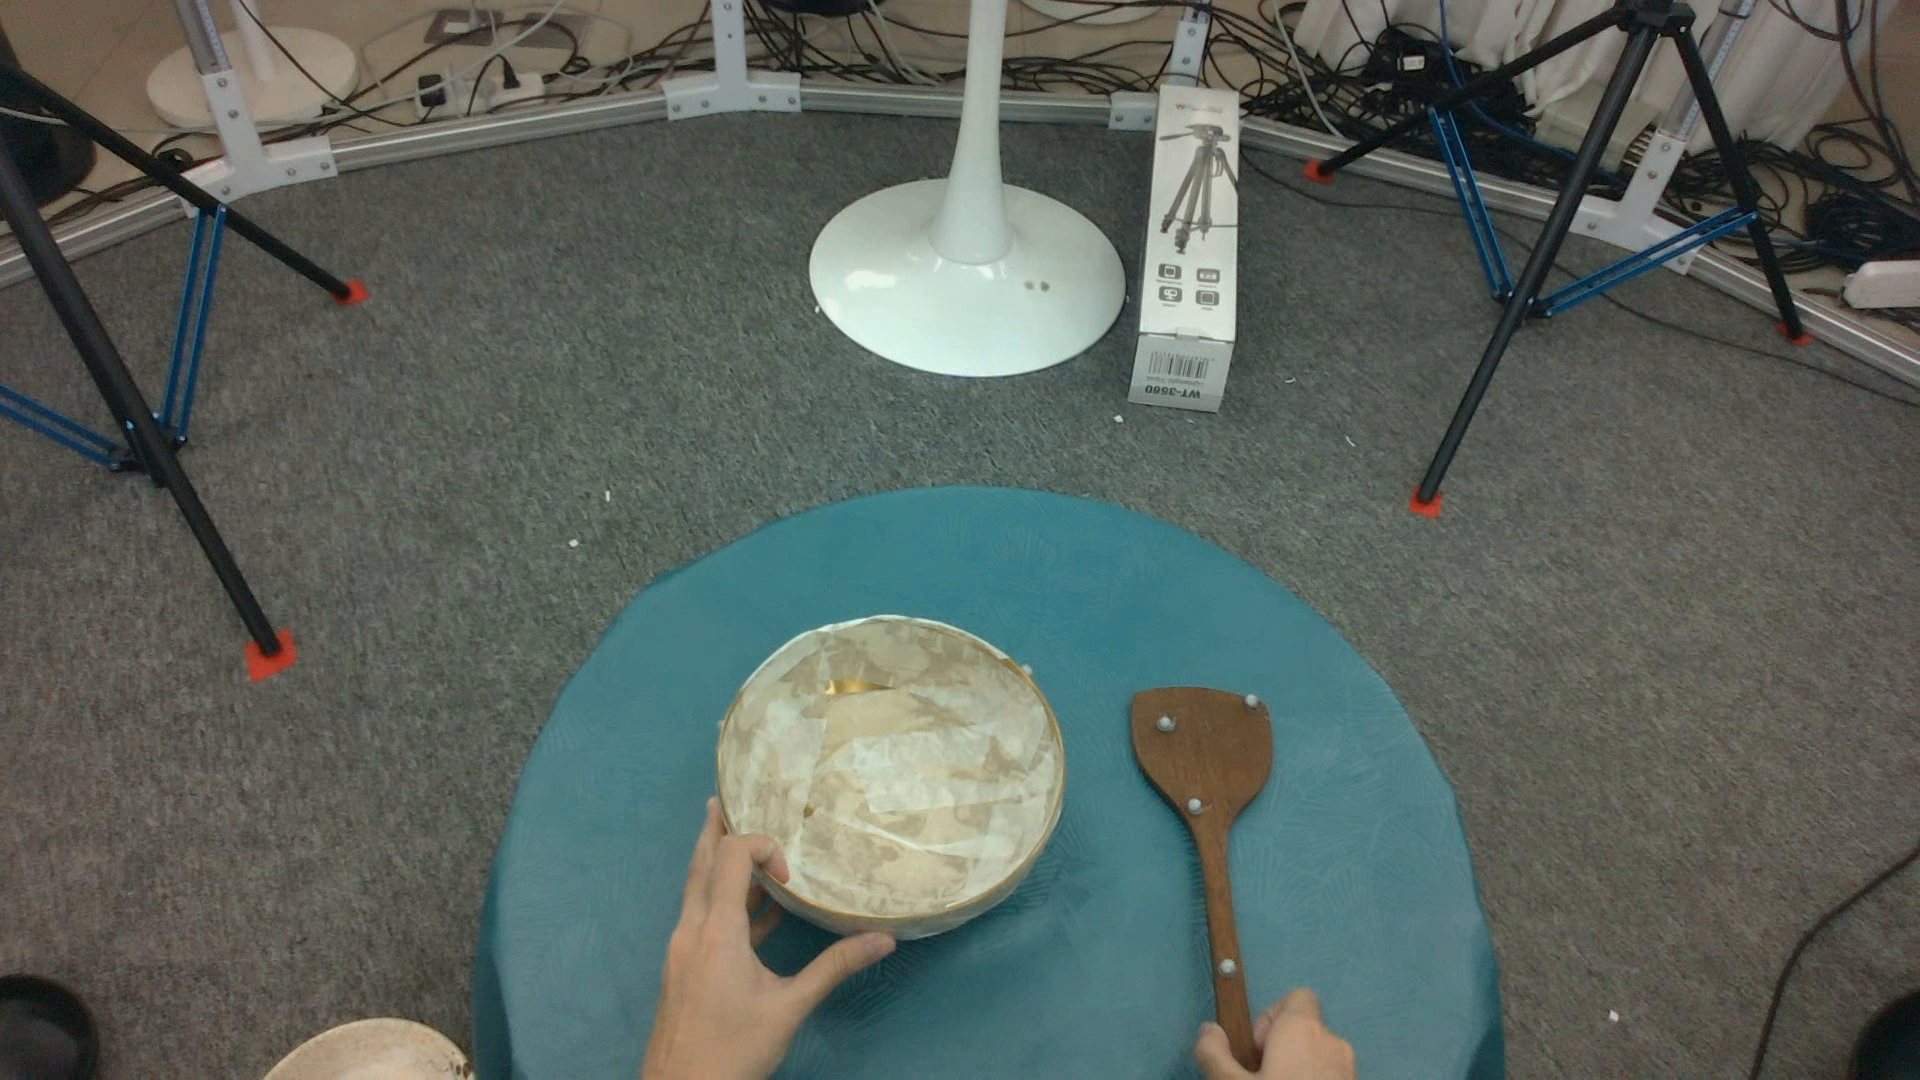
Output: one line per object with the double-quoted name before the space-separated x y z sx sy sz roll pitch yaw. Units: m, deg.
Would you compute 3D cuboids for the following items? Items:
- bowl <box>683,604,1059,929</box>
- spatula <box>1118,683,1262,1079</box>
"bowl" -0.050 0.147 0.810 0.215 0.094 0.215 4 48 -4
"spatula" 0.146 0.227 0.793 0.096 0.016 0.388 5 41 -1
